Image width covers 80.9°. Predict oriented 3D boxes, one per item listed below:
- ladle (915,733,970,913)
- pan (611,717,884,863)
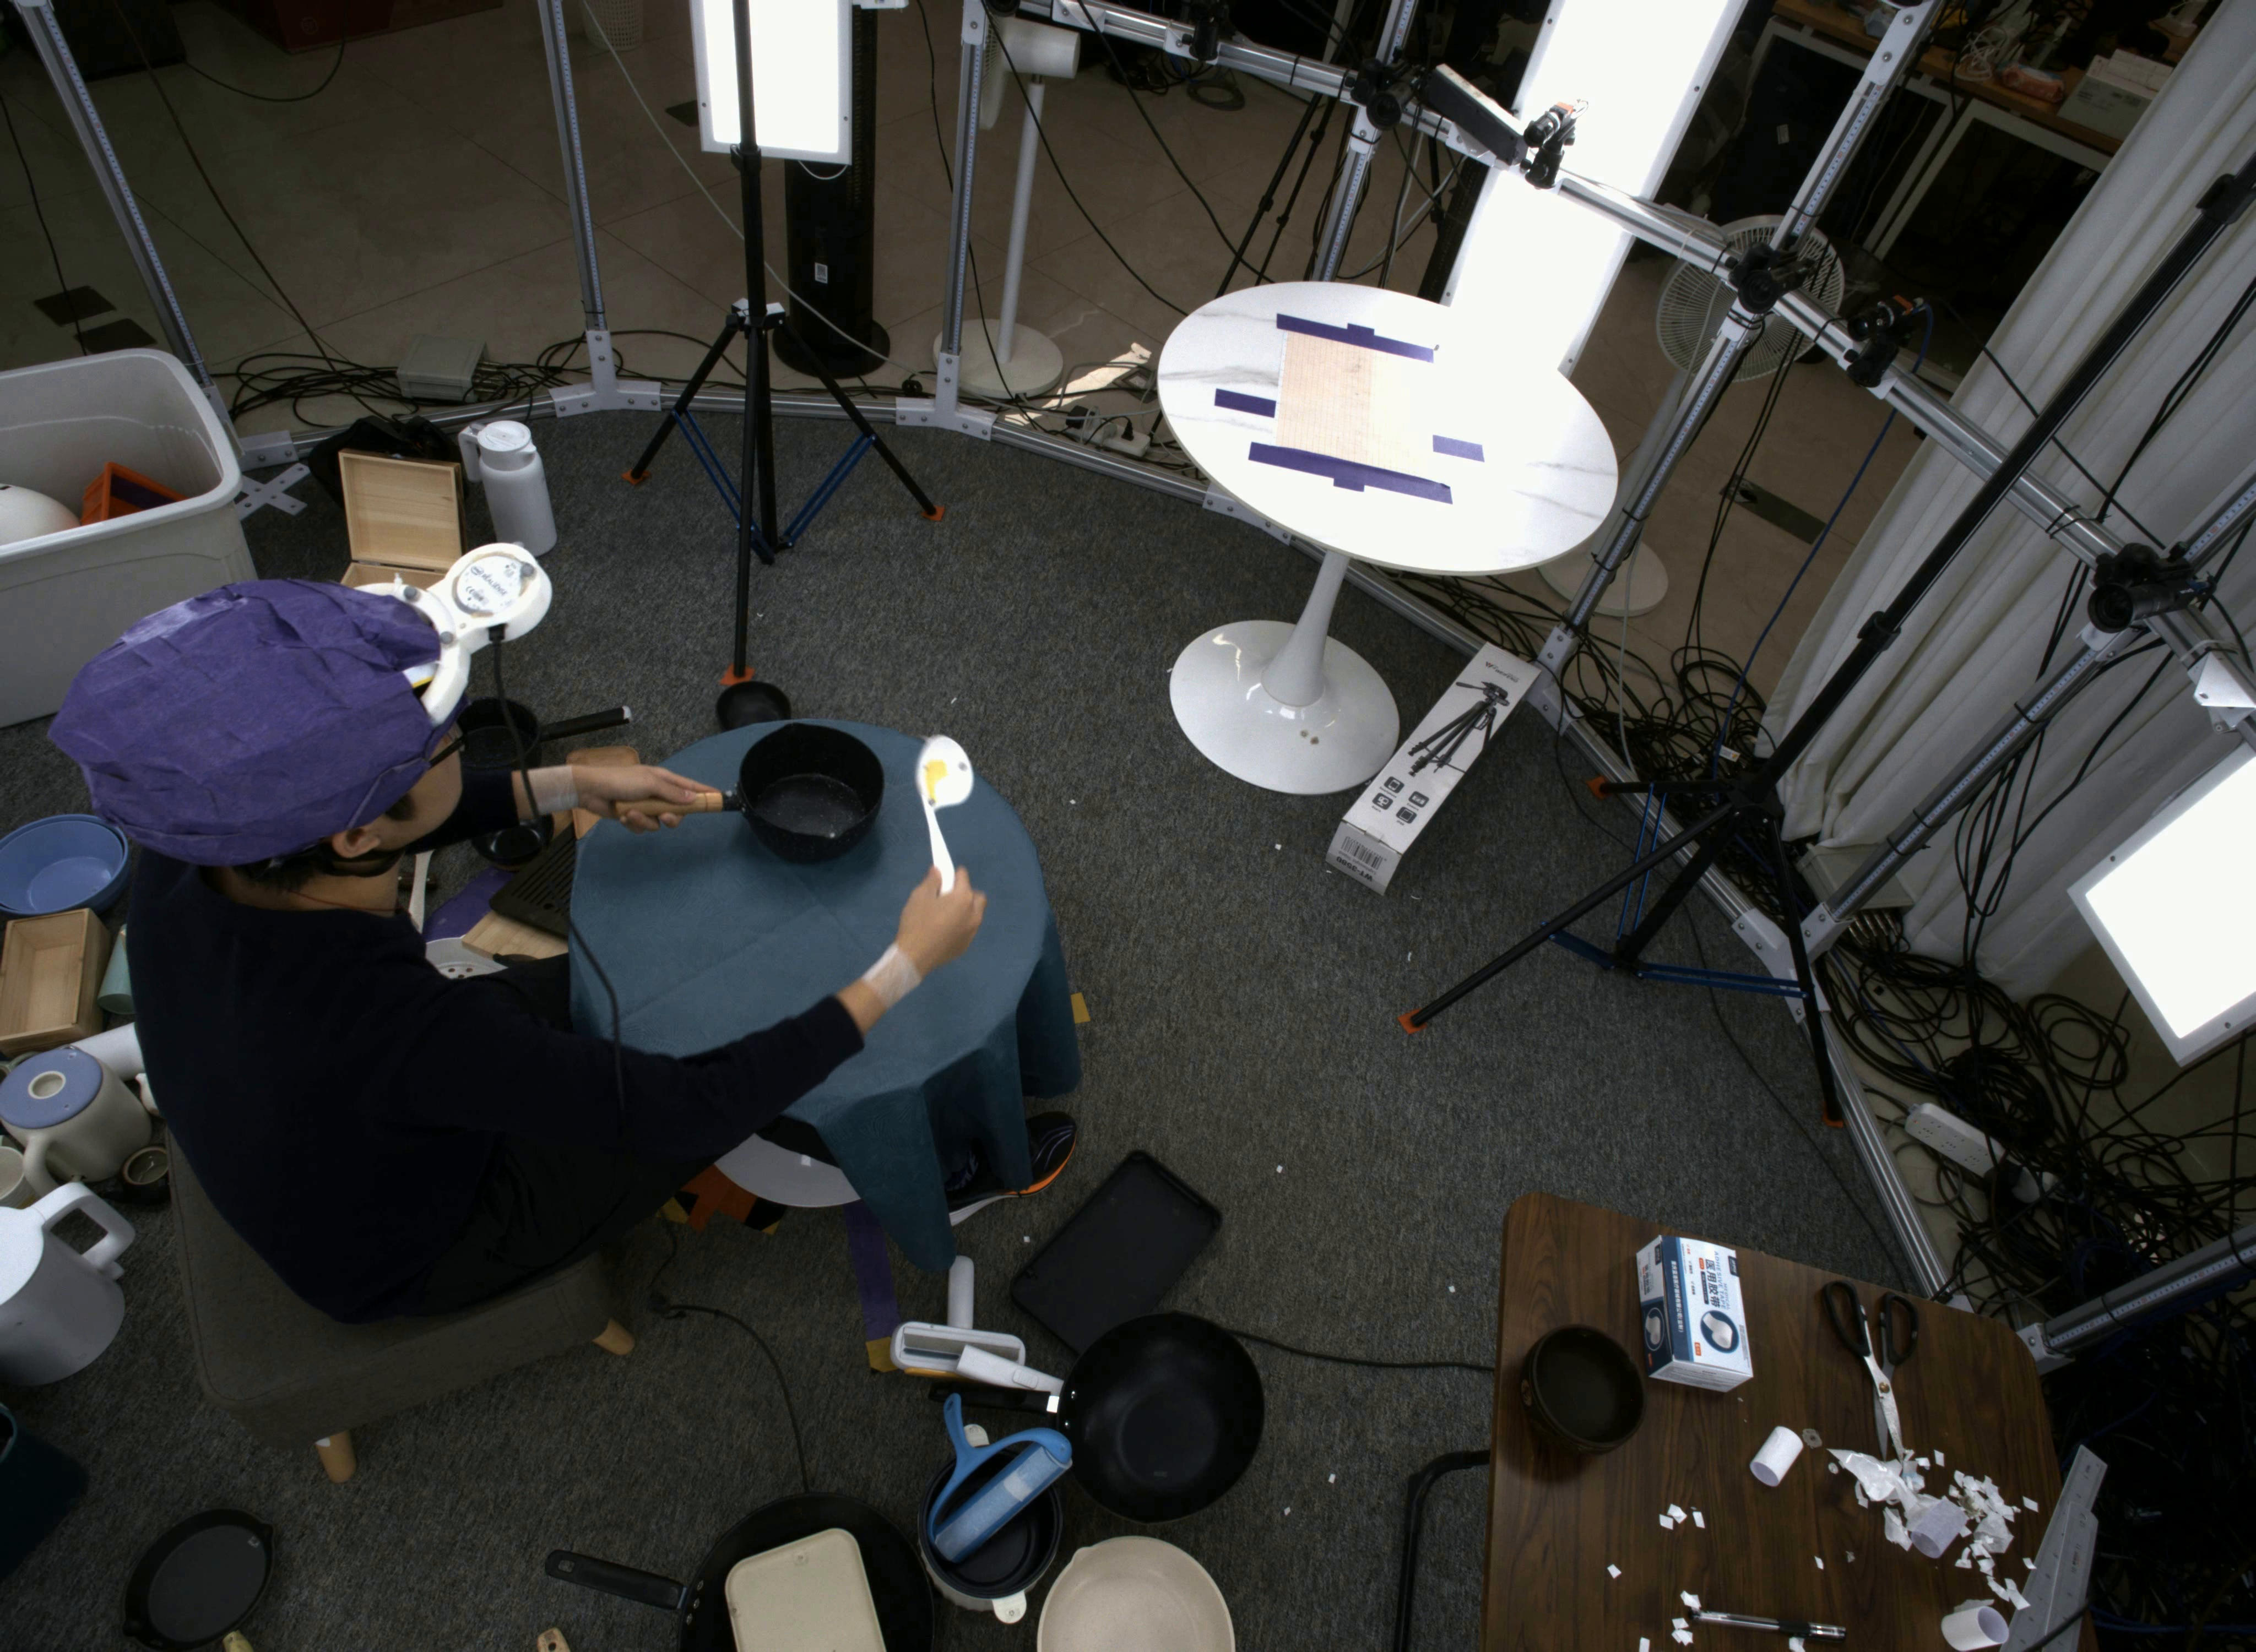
[{"bbox_3d":[-0.209,-0.006,1.531,0.069,0.094,0.284,-27,36,4],"label":"ladle"},{"bbox_3d":[-0.481,-0.030,1.640,0.345,0.110,0.202,-12,58,-28],"label":"pan"}]
